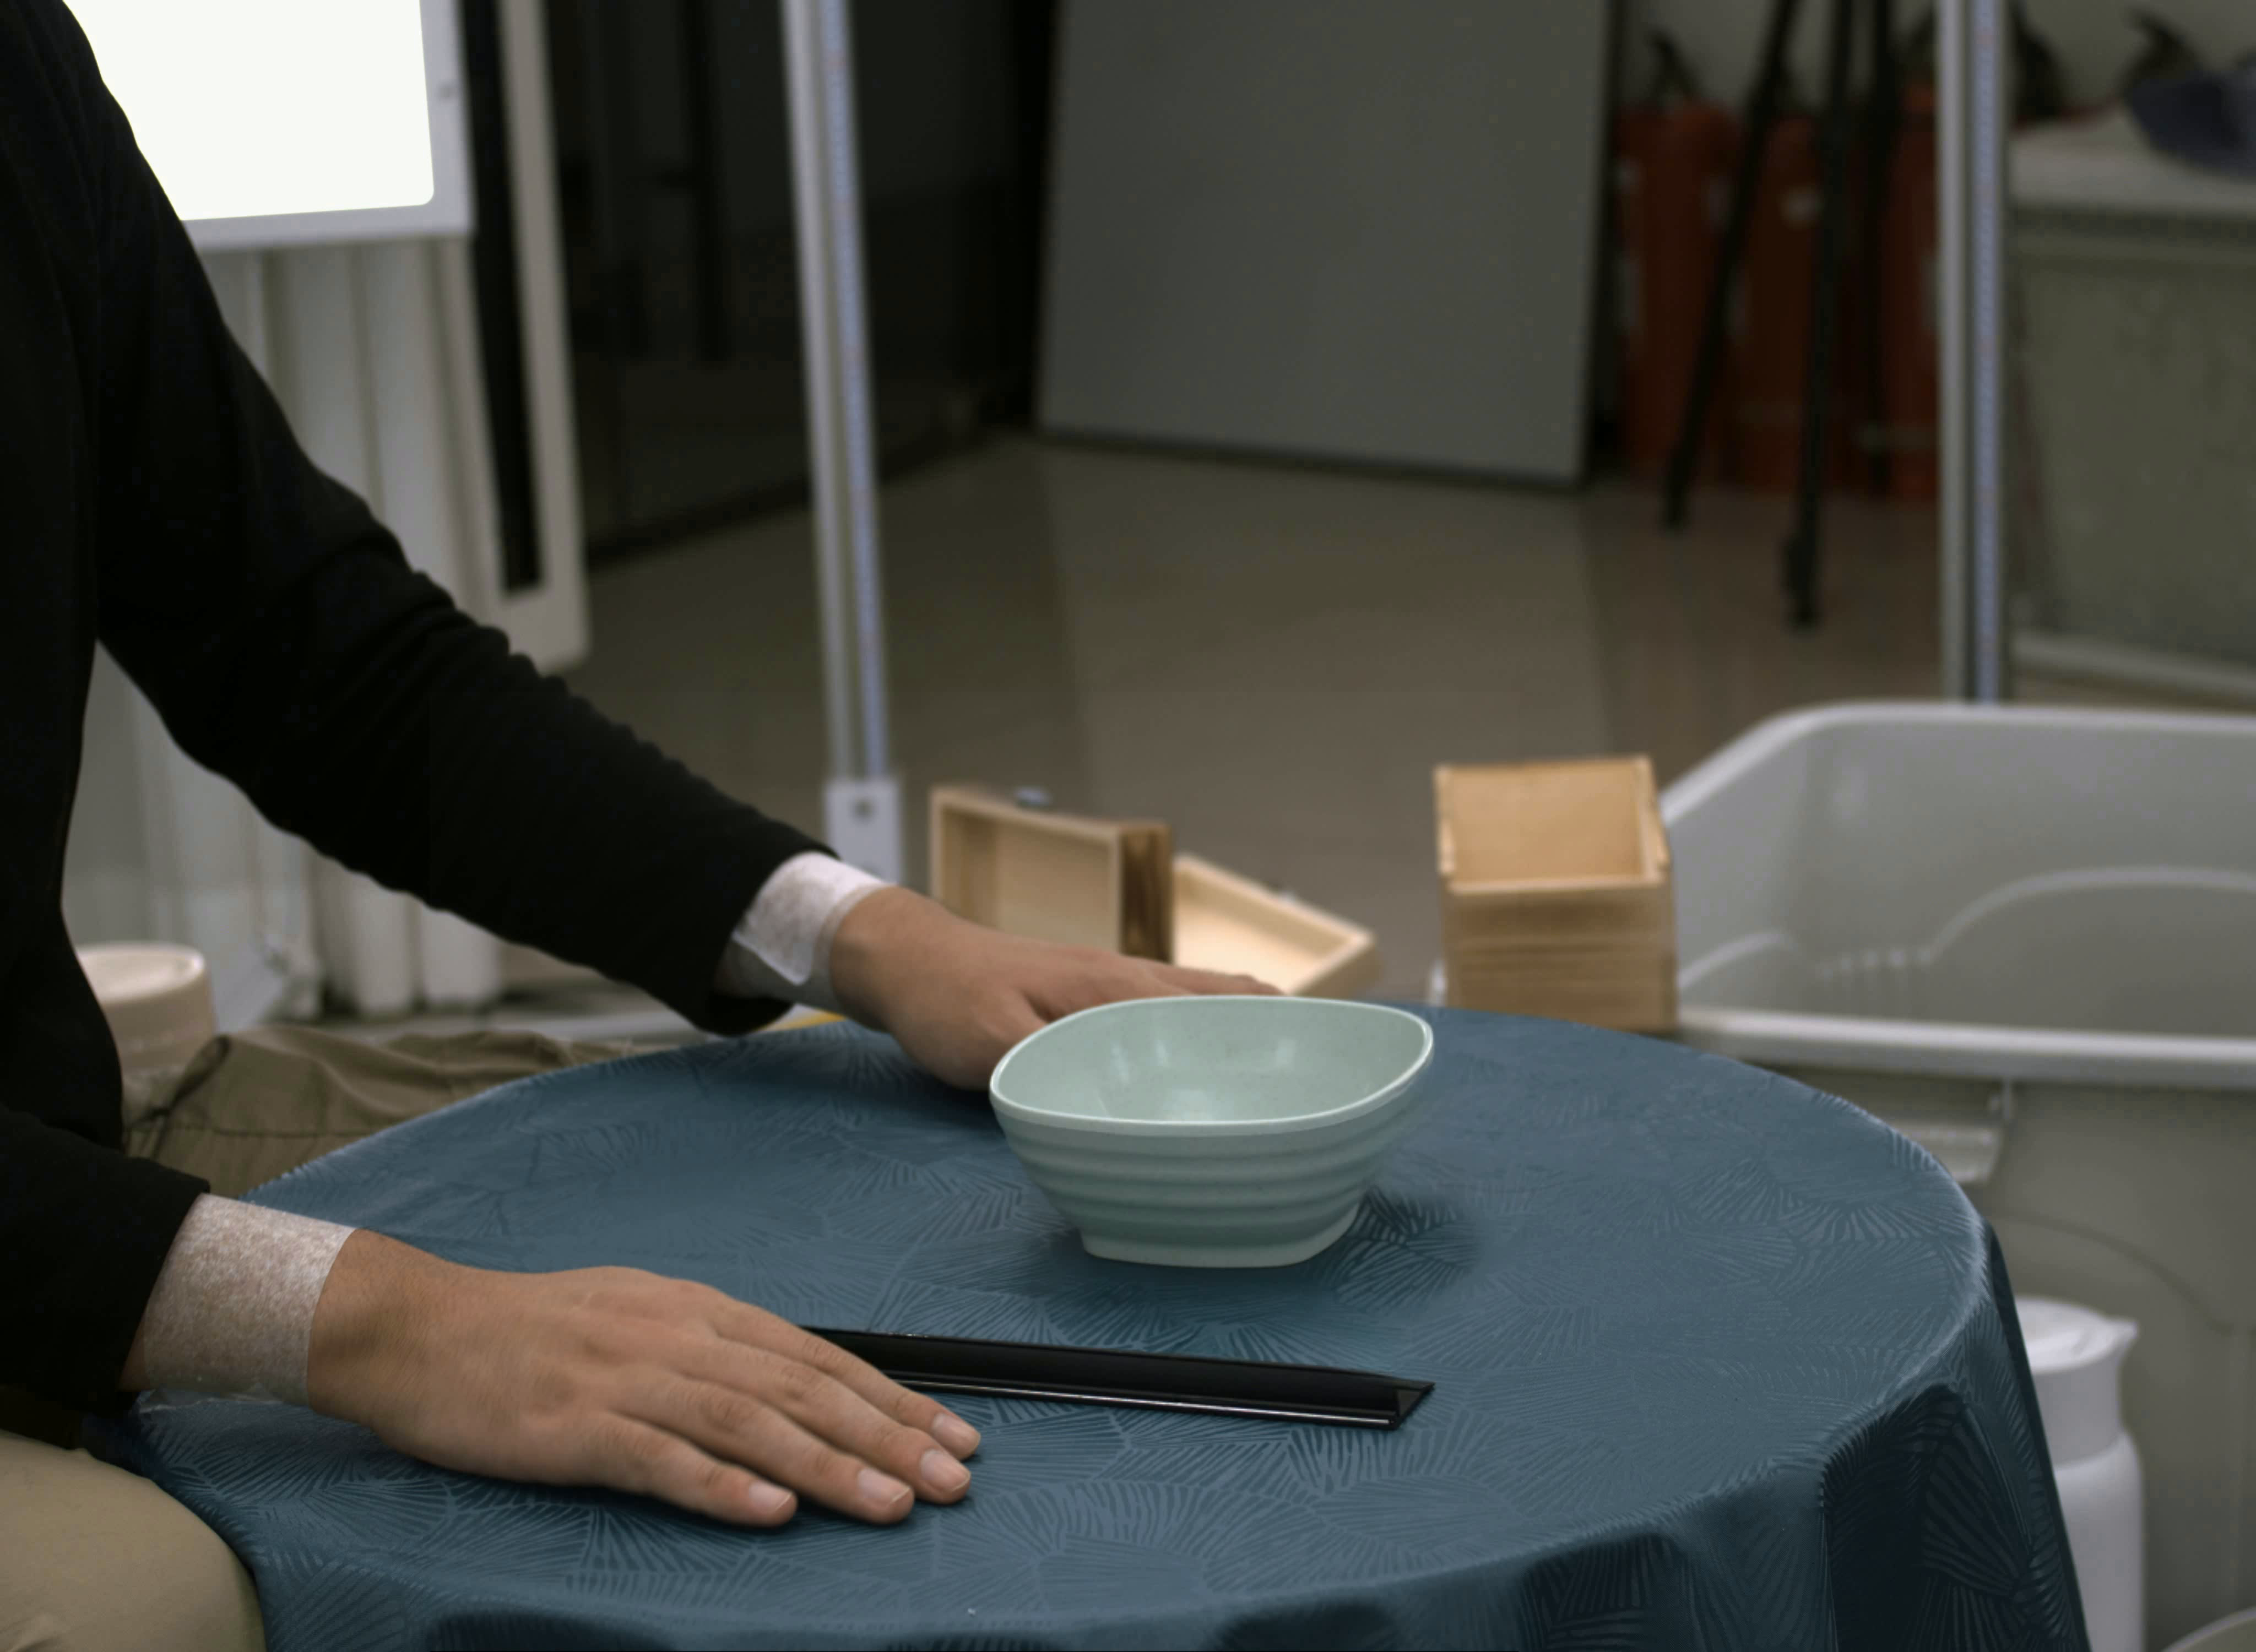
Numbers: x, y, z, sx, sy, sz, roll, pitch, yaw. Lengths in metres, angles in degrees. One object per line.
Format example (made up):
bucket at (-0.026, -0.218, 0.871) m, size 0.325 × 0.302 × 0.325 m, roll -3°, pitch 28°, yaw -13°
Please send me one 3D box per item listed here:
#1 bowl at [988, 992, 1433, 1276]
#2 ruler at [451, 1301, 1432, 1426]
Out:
bowl at (0.028, 0.102, 1.724) m, size 0.149 × 0.059 × 0.152 m, roll -3°, pitch 15°, yaw 0°
ruler at (-0.059, 0.156, 1.614) m, size 0.312 × 0.017 × 0.039 m, roll 2°, pitch 11°, yaw 24°
